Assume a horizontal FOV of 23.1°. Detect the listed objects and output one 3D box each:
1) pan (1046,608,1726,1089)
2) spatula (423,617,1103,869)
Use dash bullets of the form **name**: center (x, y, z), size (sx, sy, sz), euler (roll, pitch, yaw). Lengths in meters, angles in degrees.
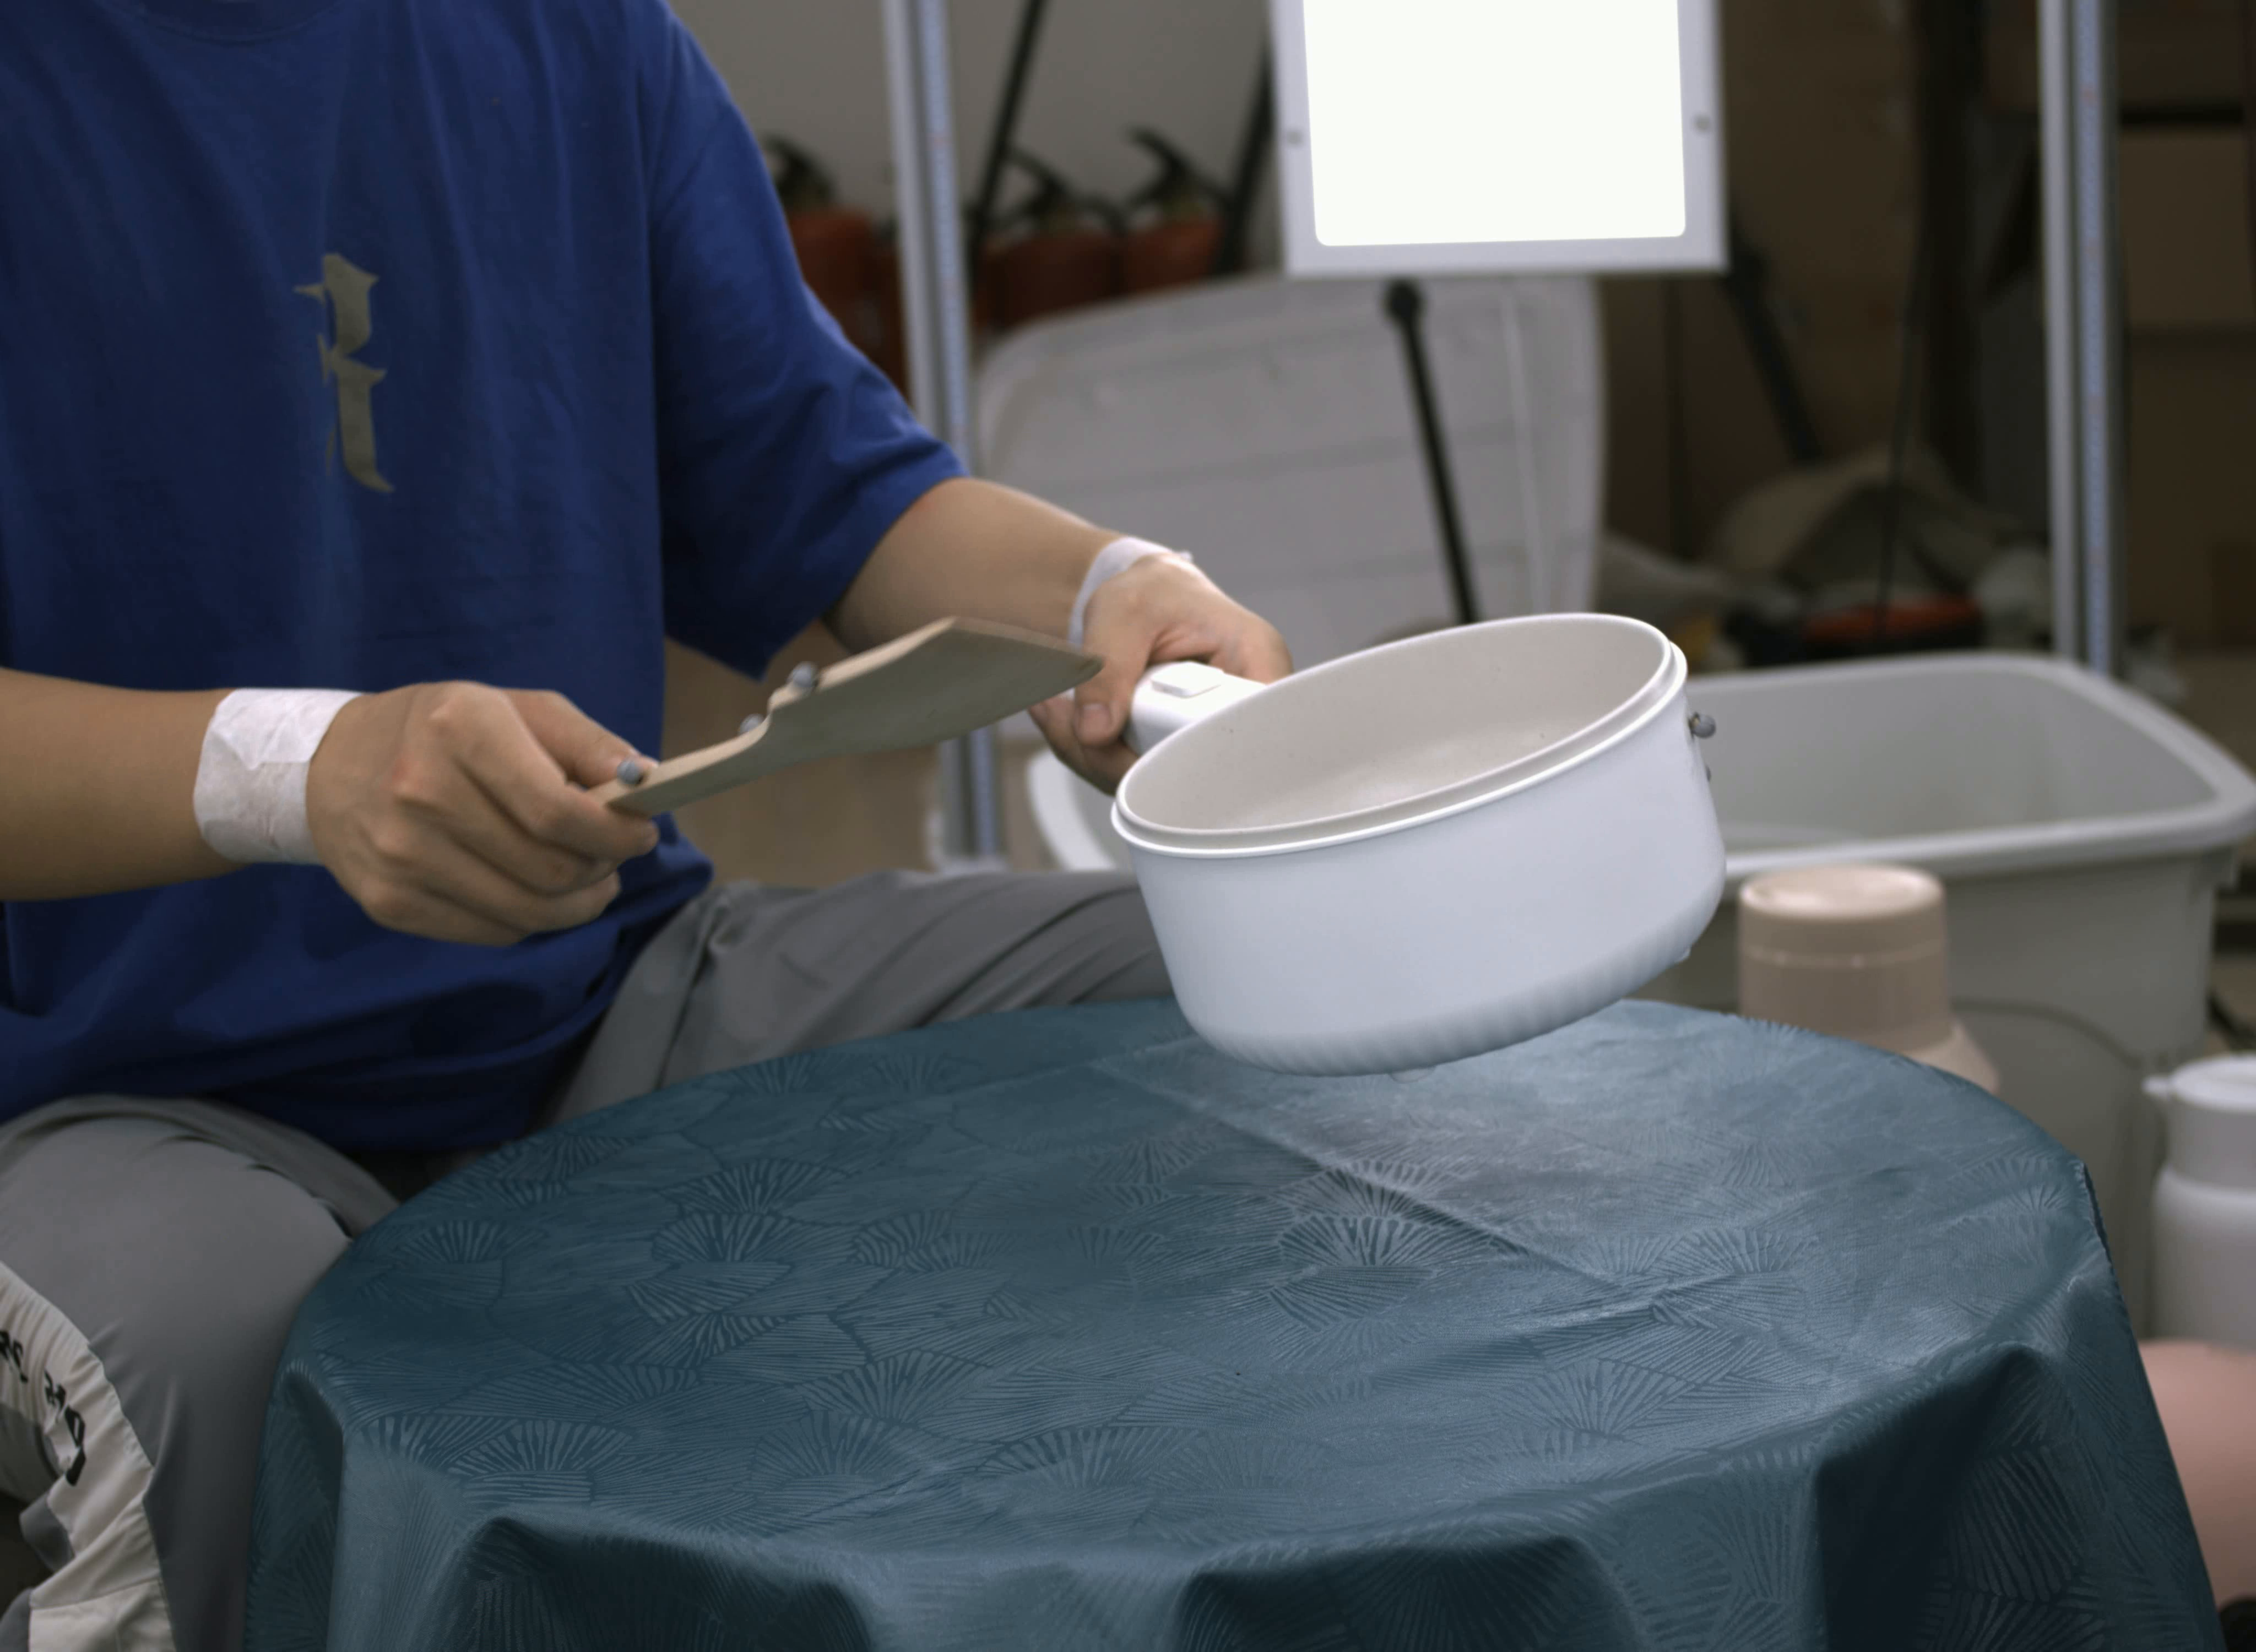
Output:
- **pan**: center (0.070, 0.000, 1.935), size (0.198, 0.102, 0.360), euler (-26, 18, -20)
- **spatula**: center (-0.132, -0.021, 1.783), size (0.070, 0.010, 0.300), euler (13, -22, -42)
